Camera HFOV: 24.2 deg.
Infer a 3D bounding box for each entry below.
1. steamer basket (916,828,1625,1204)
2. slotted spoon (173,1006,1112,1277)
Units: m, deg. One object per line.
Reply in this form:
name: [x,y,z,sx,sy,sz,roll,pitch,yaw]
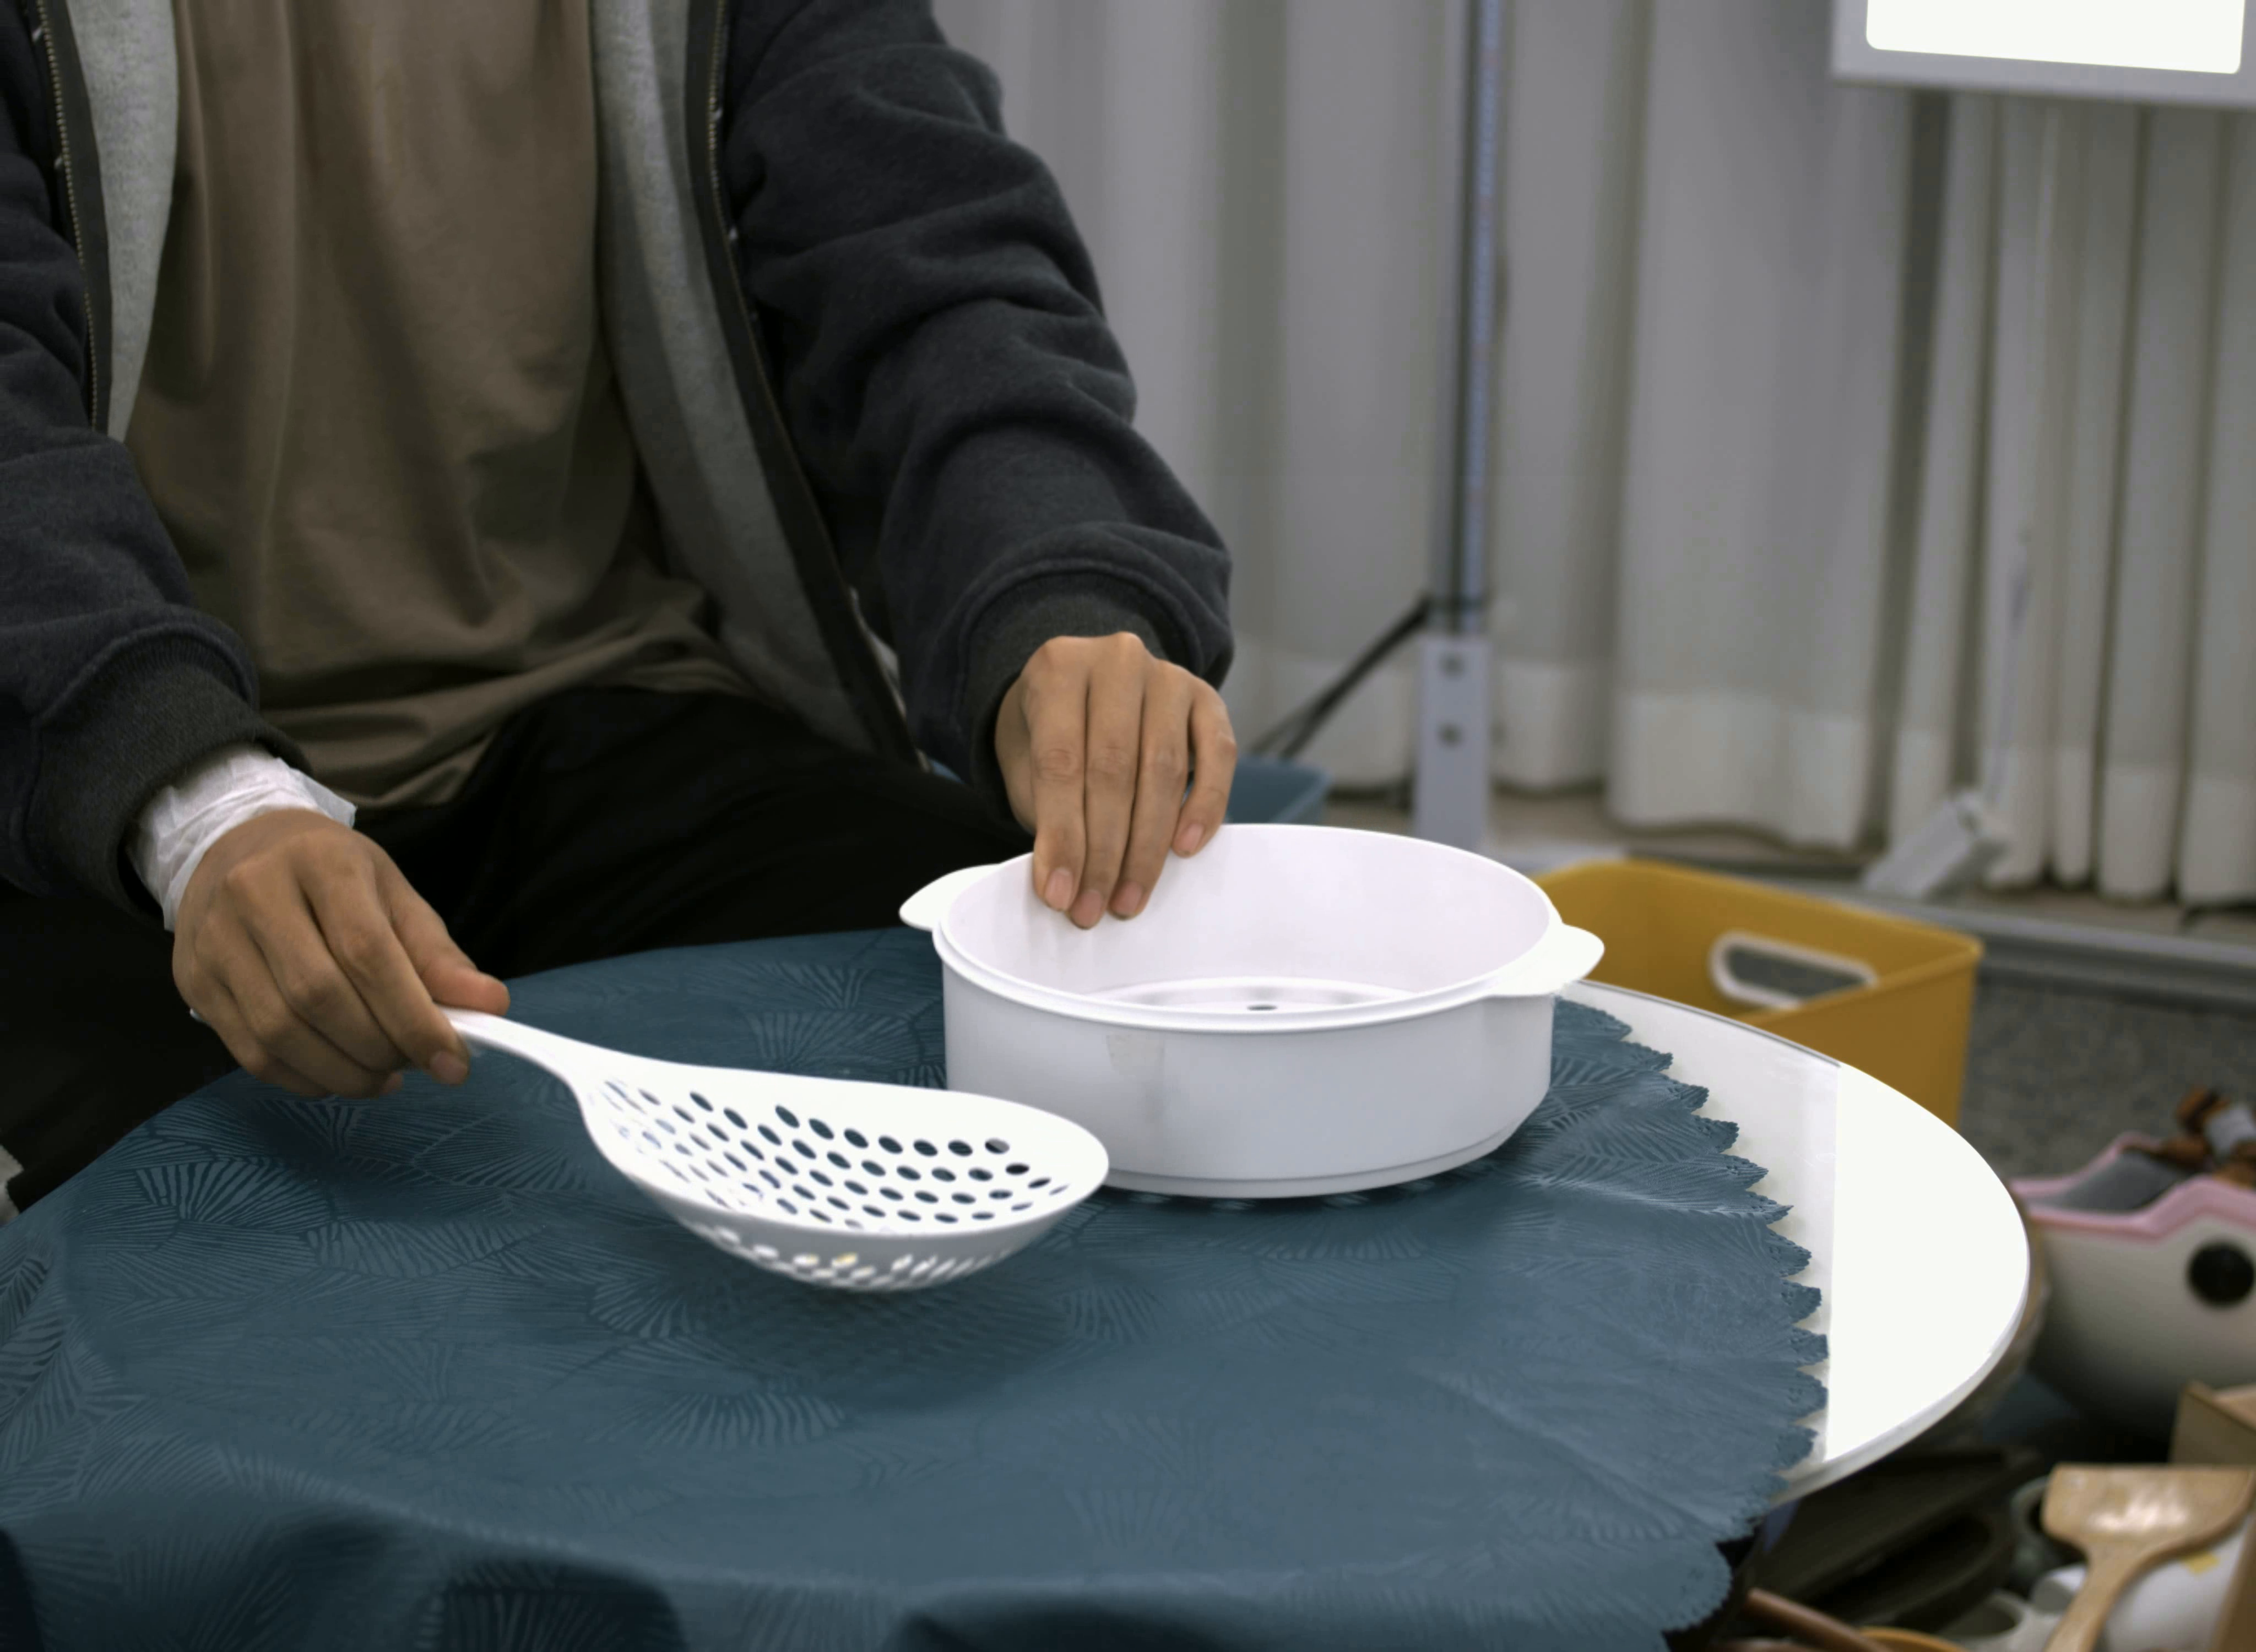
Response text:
steamer basket: [0.043,0.060,1.681,0.228,0.070,0.202,8,18,20]
slotted spoon: [-0.160,0.082,1.585,0.343,0.051,0.137,17,22,34]
